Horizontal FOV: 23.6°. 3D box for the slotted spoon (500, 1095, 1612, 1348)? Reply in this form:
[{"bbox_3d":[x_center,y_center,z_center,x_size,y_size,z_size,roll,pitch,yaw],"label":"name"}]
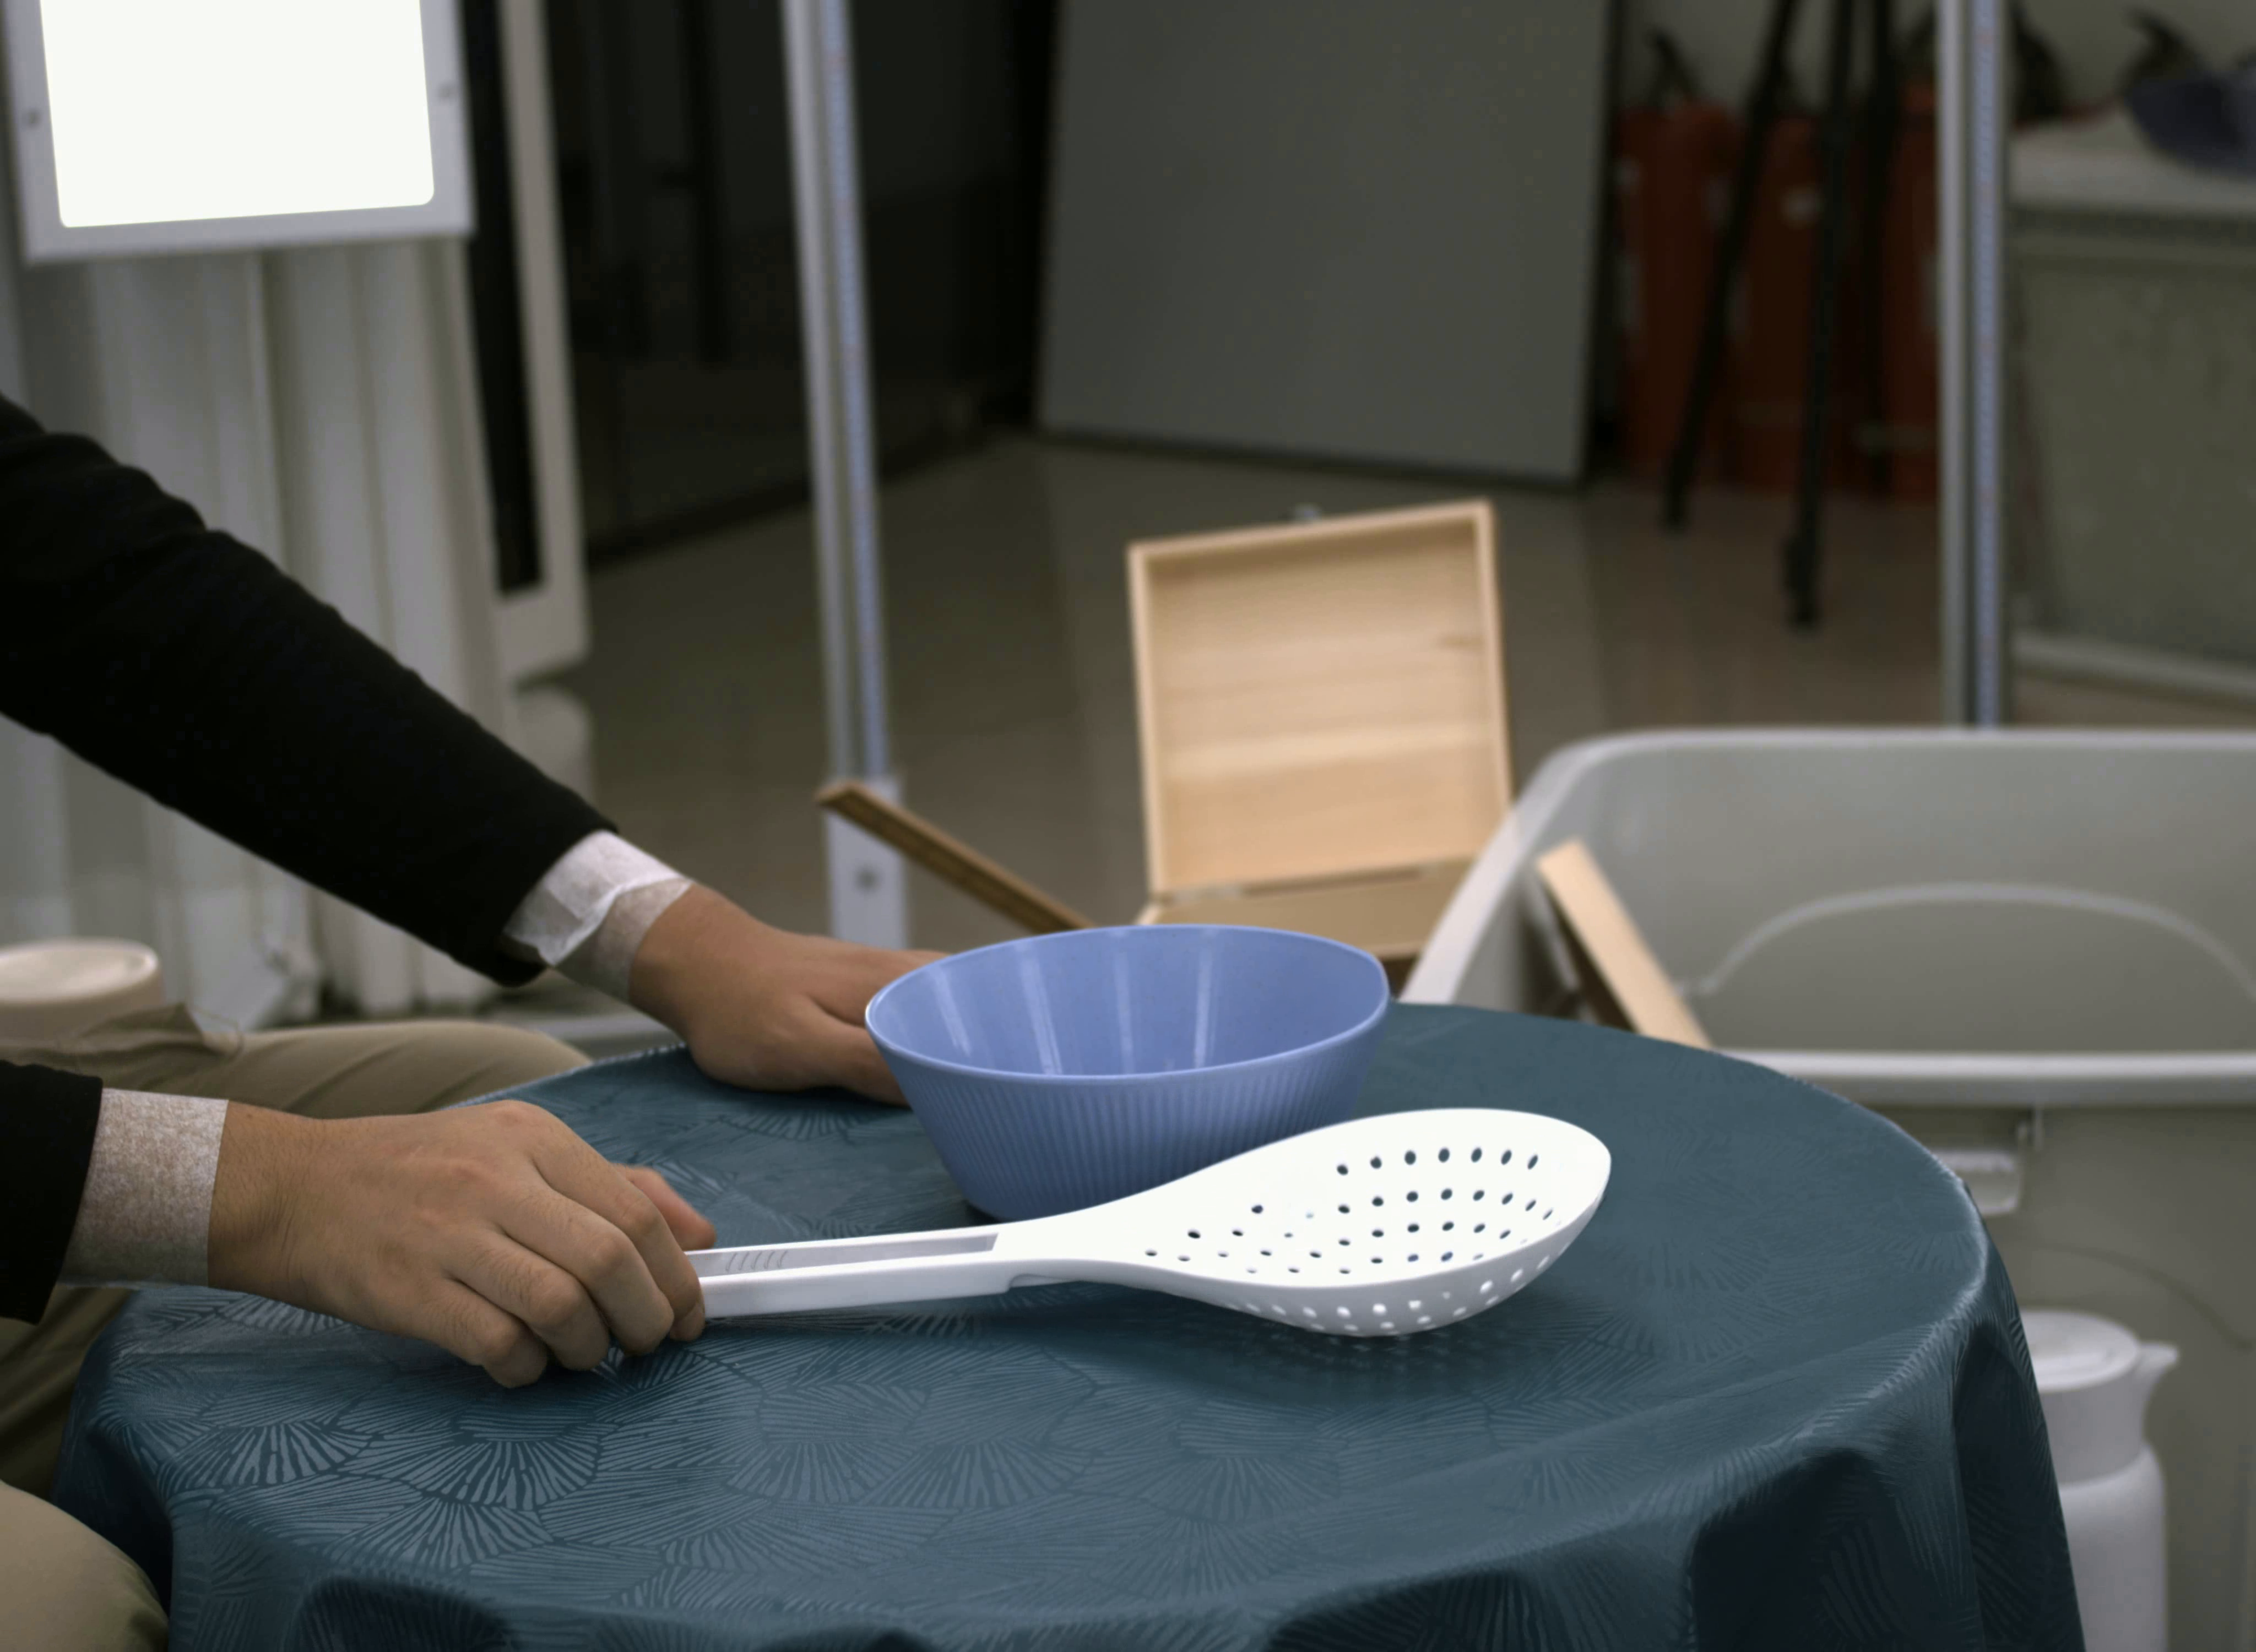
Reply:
[{"bbox_3d":[-0.024,0.130,1.643,0.347,0.046,0.136,-3,20,10],"label":"slotted spoon"}]

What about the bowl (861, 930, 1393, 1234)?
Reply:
[{"bbox_3d":[0.002,0.087,1.761,0.174,0.071,0.176,-5,14,0],"label":"bowl"}]
